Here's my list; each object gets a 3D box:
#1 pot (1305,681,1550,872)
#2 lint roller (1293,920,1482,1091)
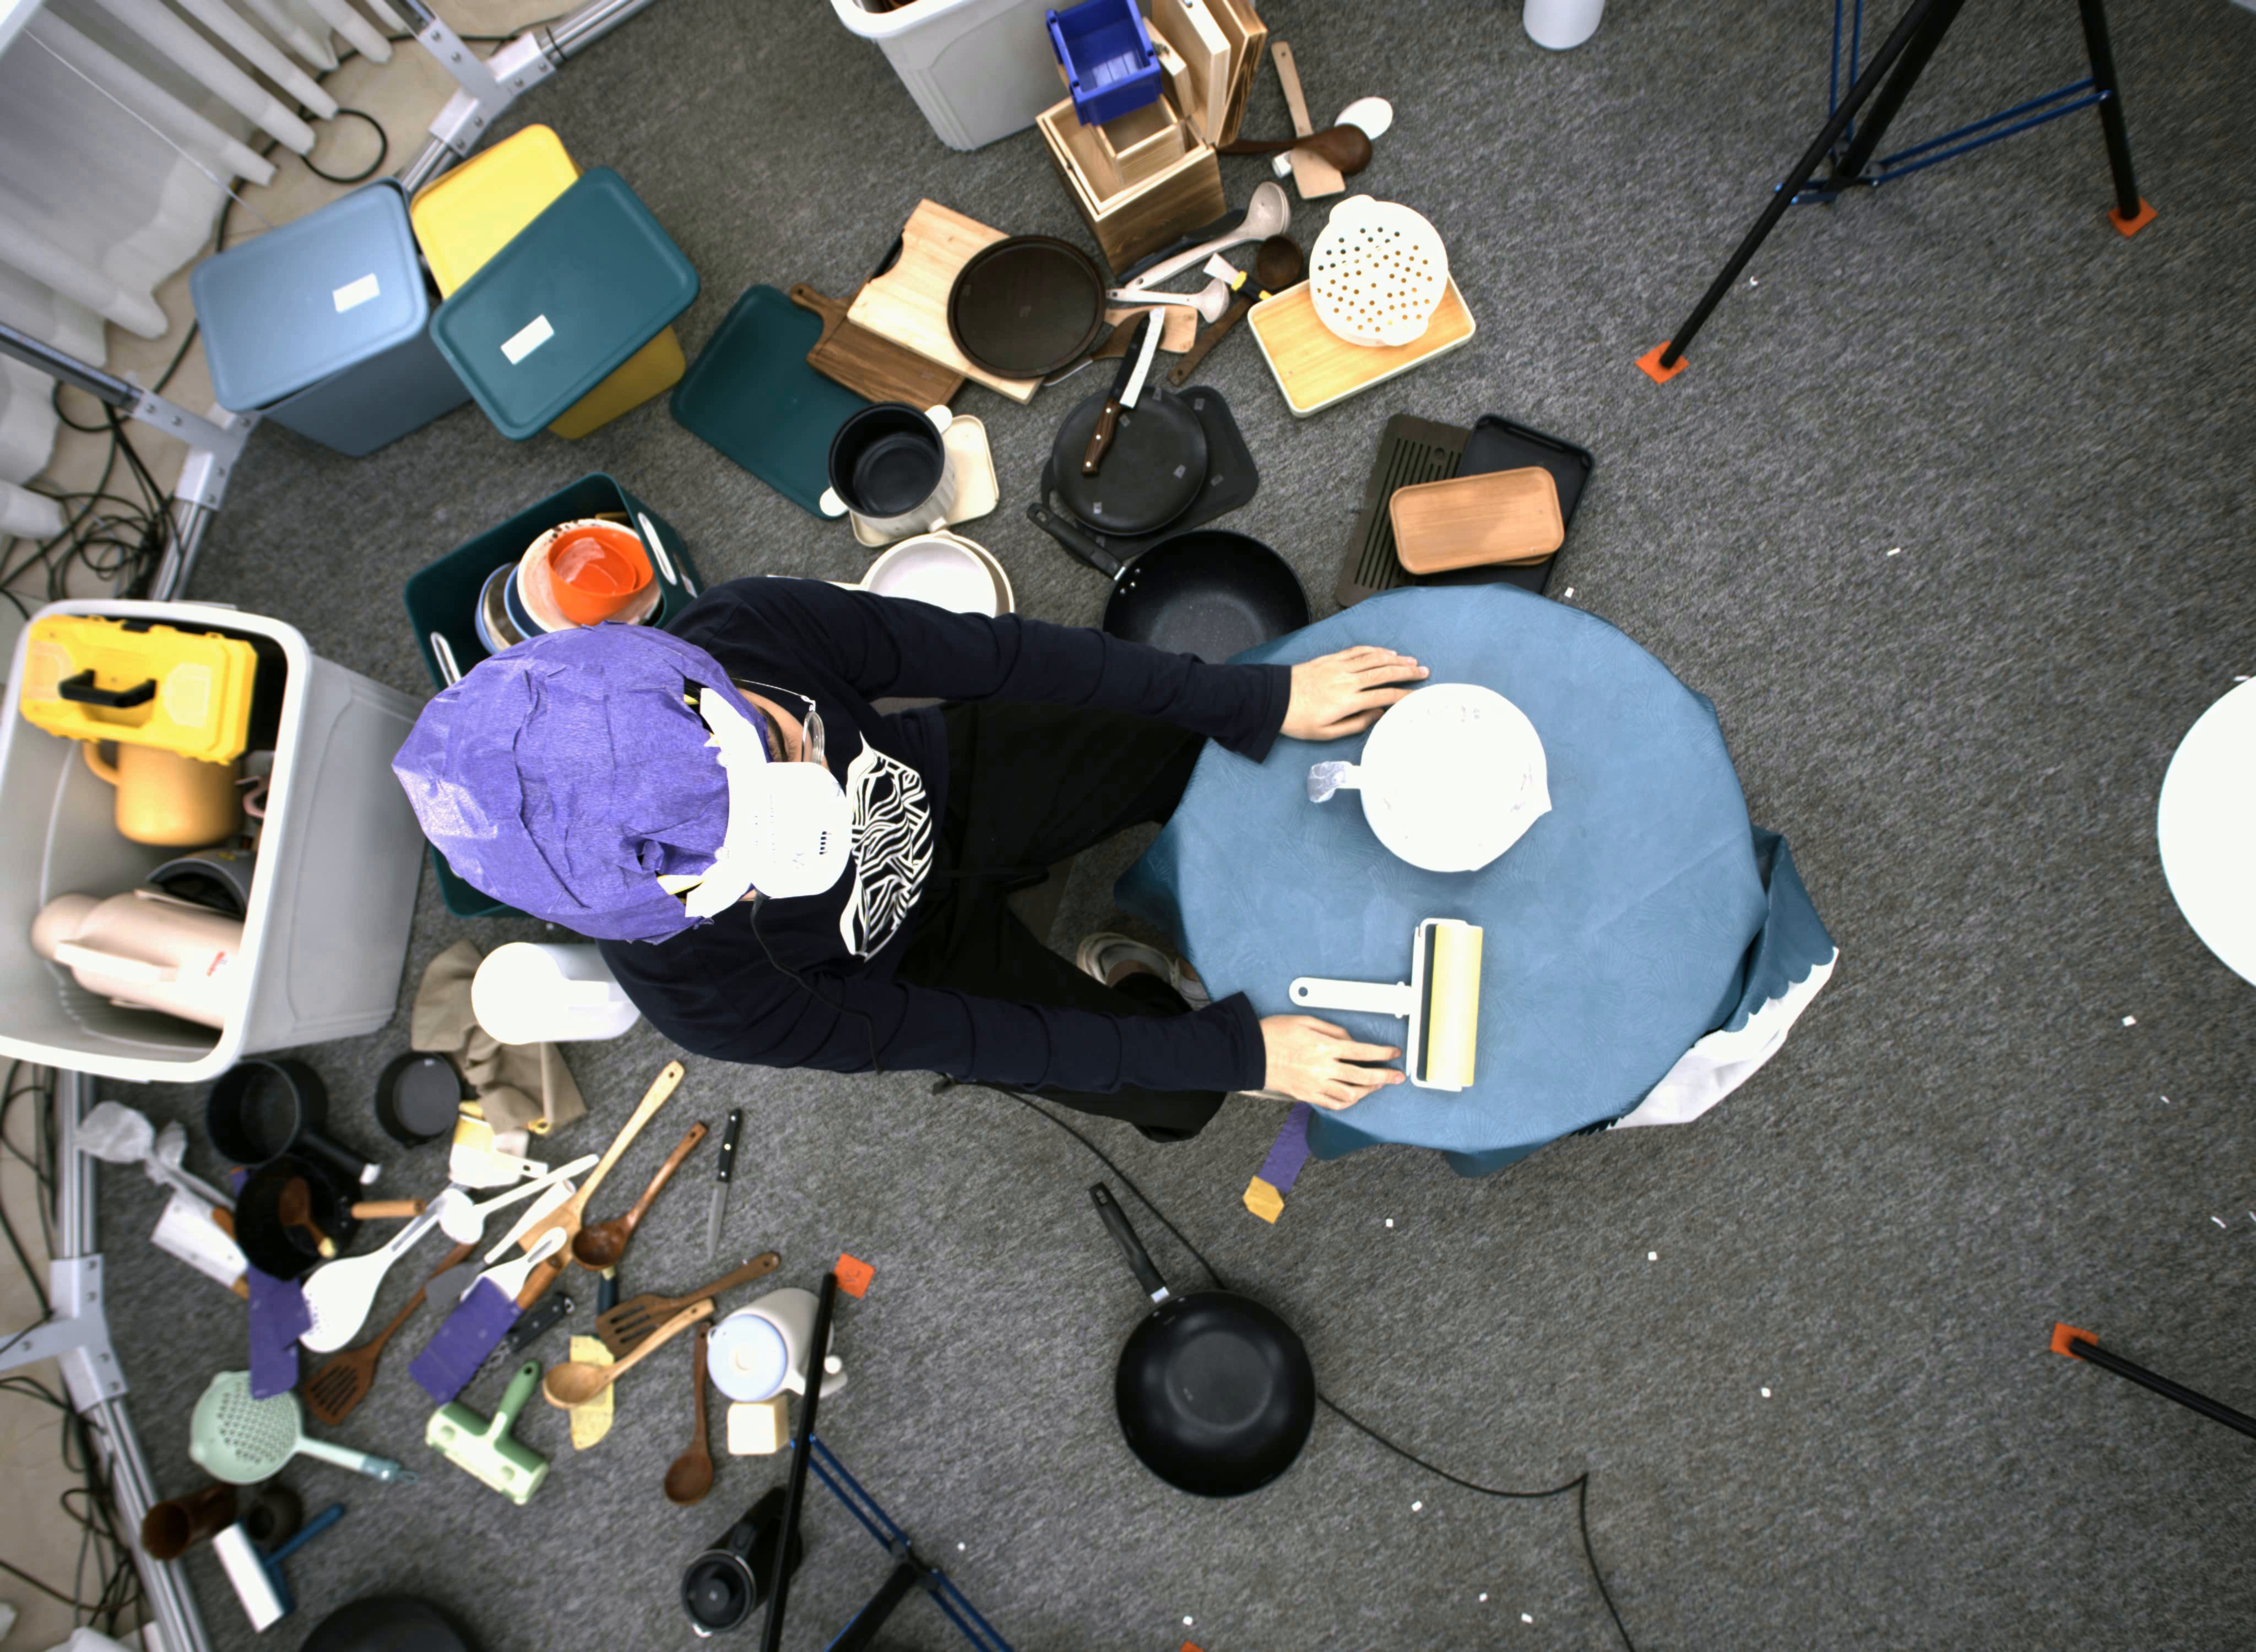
[{"bbox_3d":[0.296,-0.047,1.387,0.234,0.137,0.177,0,84,8],"label":"pot"},{"bbox_3d":[0.266,0.180,1.430,0.192,0.051,0.173,2,86,9],"label":"lint roller"}]
